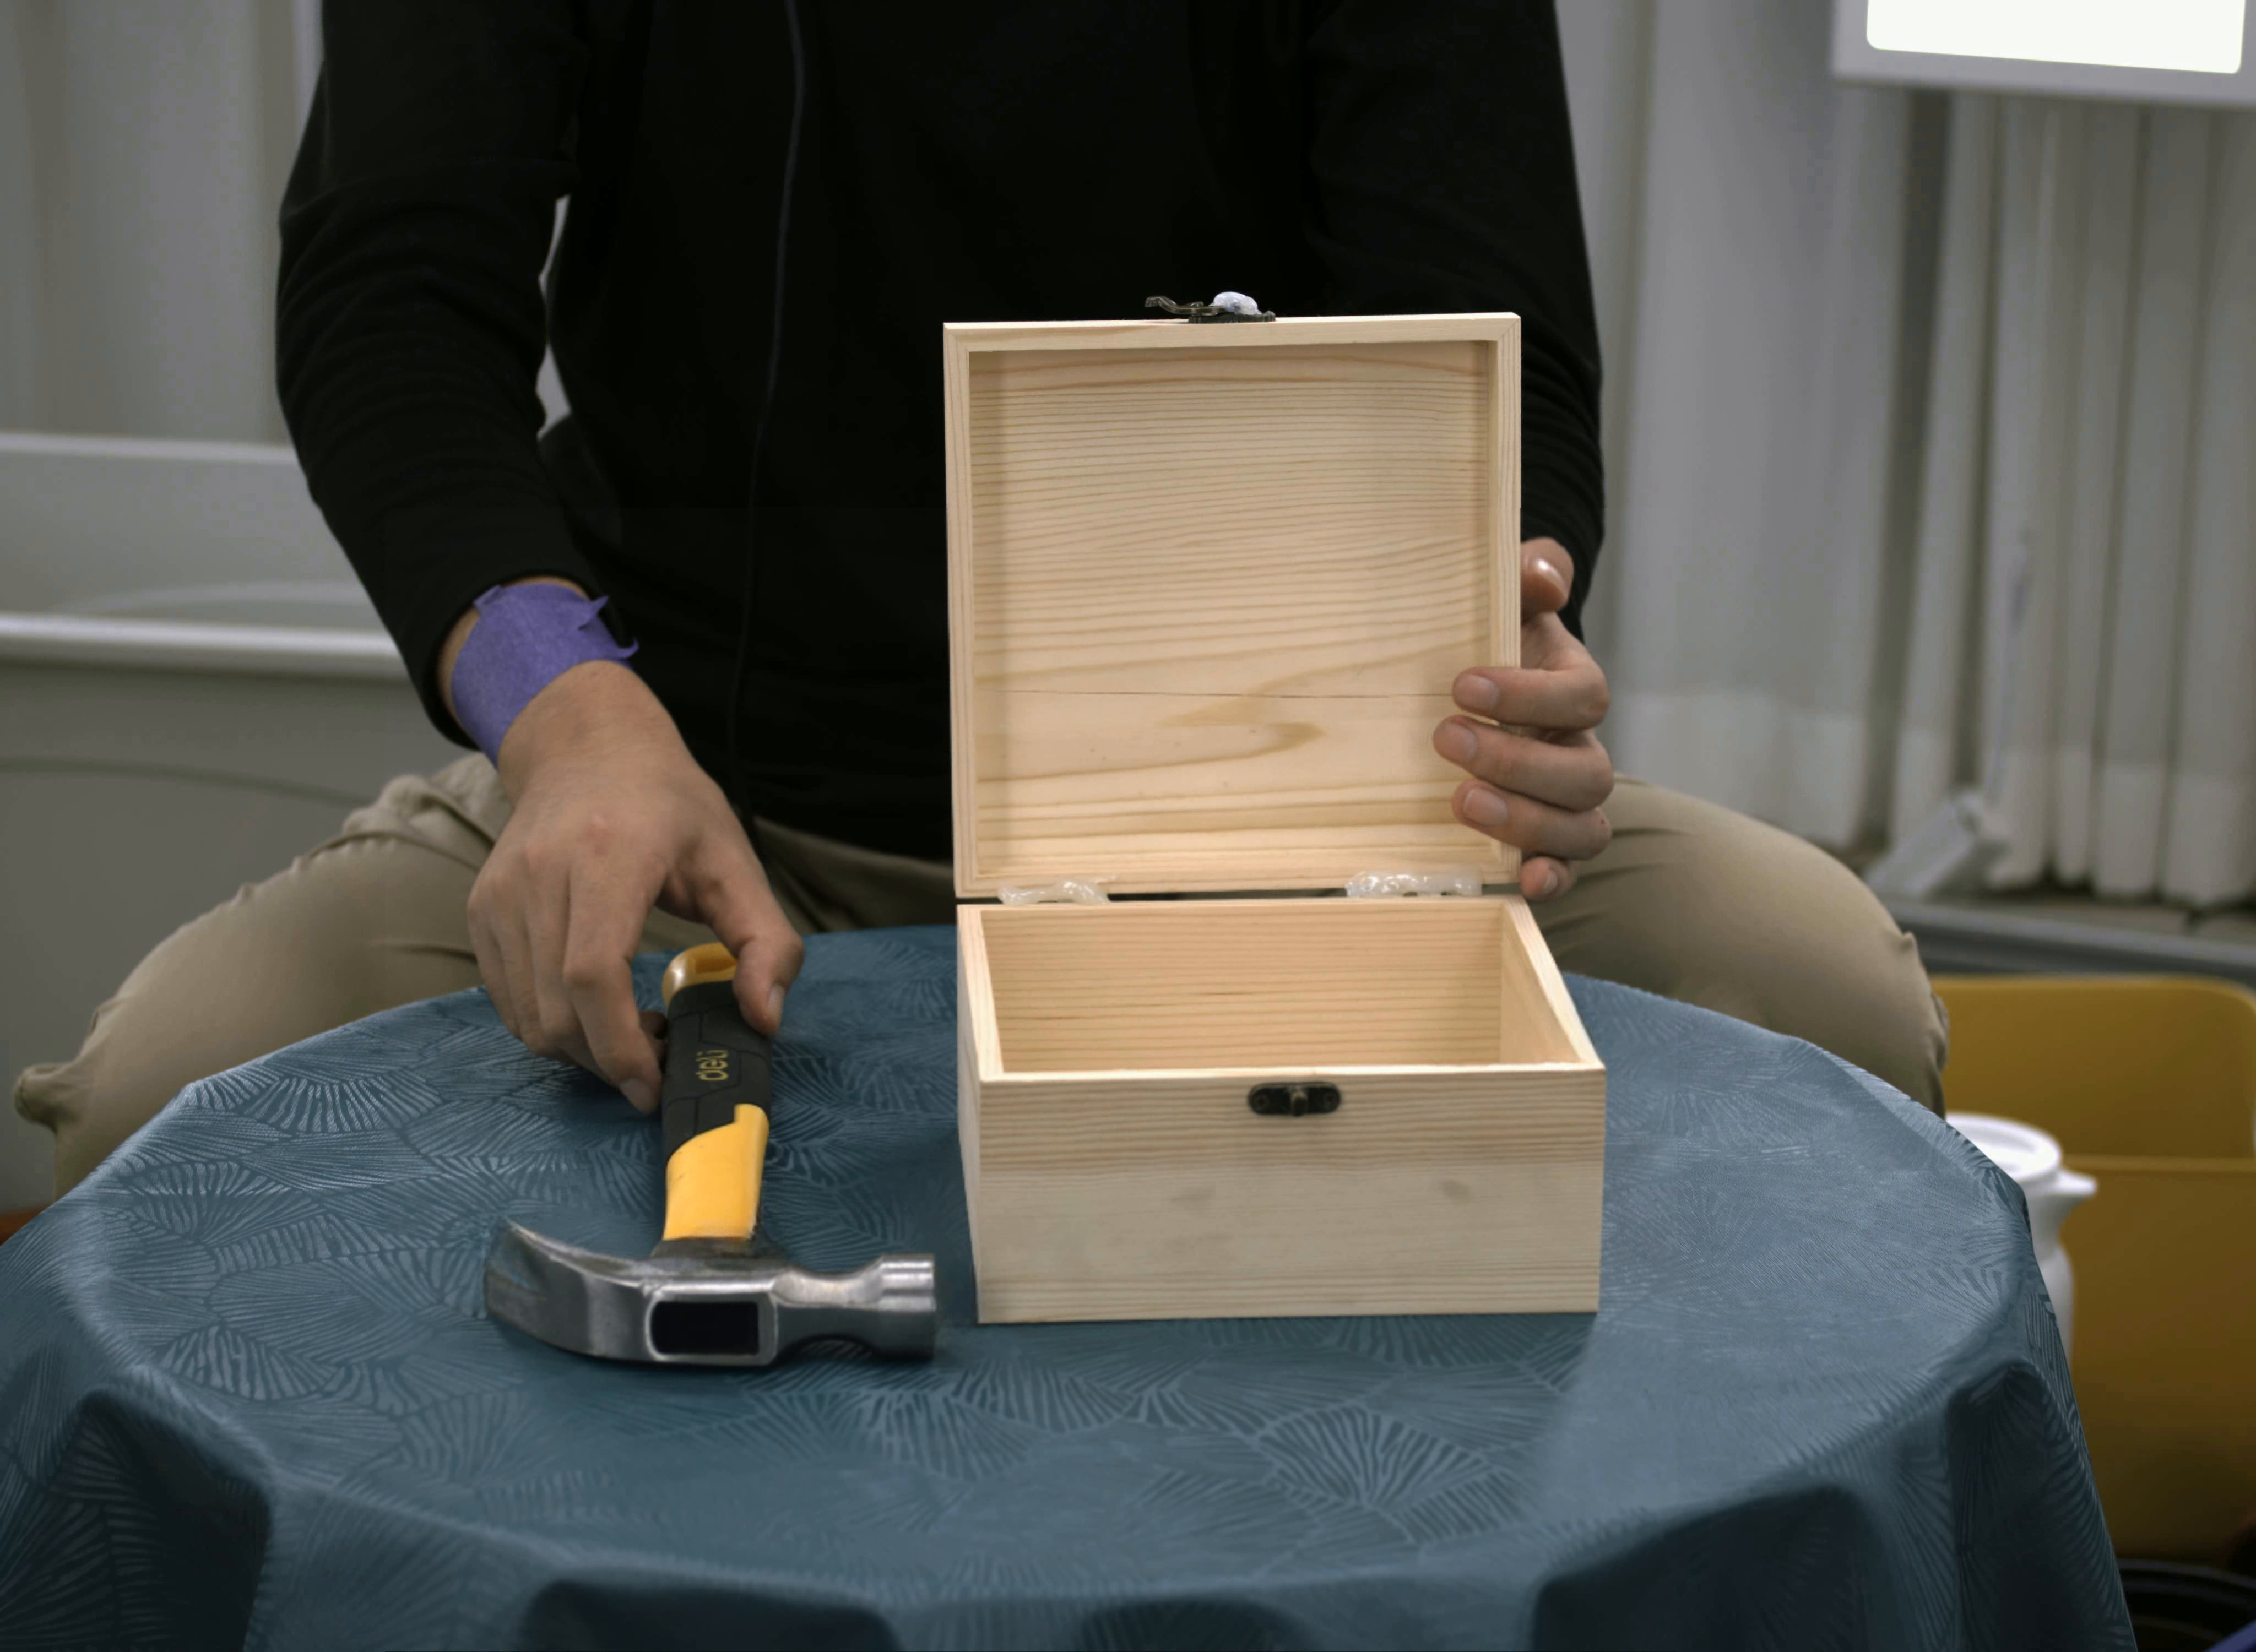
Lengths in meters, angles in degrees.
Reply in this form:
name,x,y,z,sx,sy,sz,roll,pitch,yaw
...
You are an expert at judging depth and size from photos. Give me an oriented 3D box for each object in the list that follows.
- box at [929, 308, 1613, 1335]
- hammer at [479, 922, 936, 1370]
name,x,y,z,sx,sy,sz,roll,pitch,yaw
box,0.039,-0.011,1.599,0.181,0.255,0.263,-3,16,-4
hammer,-0.127,0.091,1.624,0.131,0.032,0.336,0,17,-3
